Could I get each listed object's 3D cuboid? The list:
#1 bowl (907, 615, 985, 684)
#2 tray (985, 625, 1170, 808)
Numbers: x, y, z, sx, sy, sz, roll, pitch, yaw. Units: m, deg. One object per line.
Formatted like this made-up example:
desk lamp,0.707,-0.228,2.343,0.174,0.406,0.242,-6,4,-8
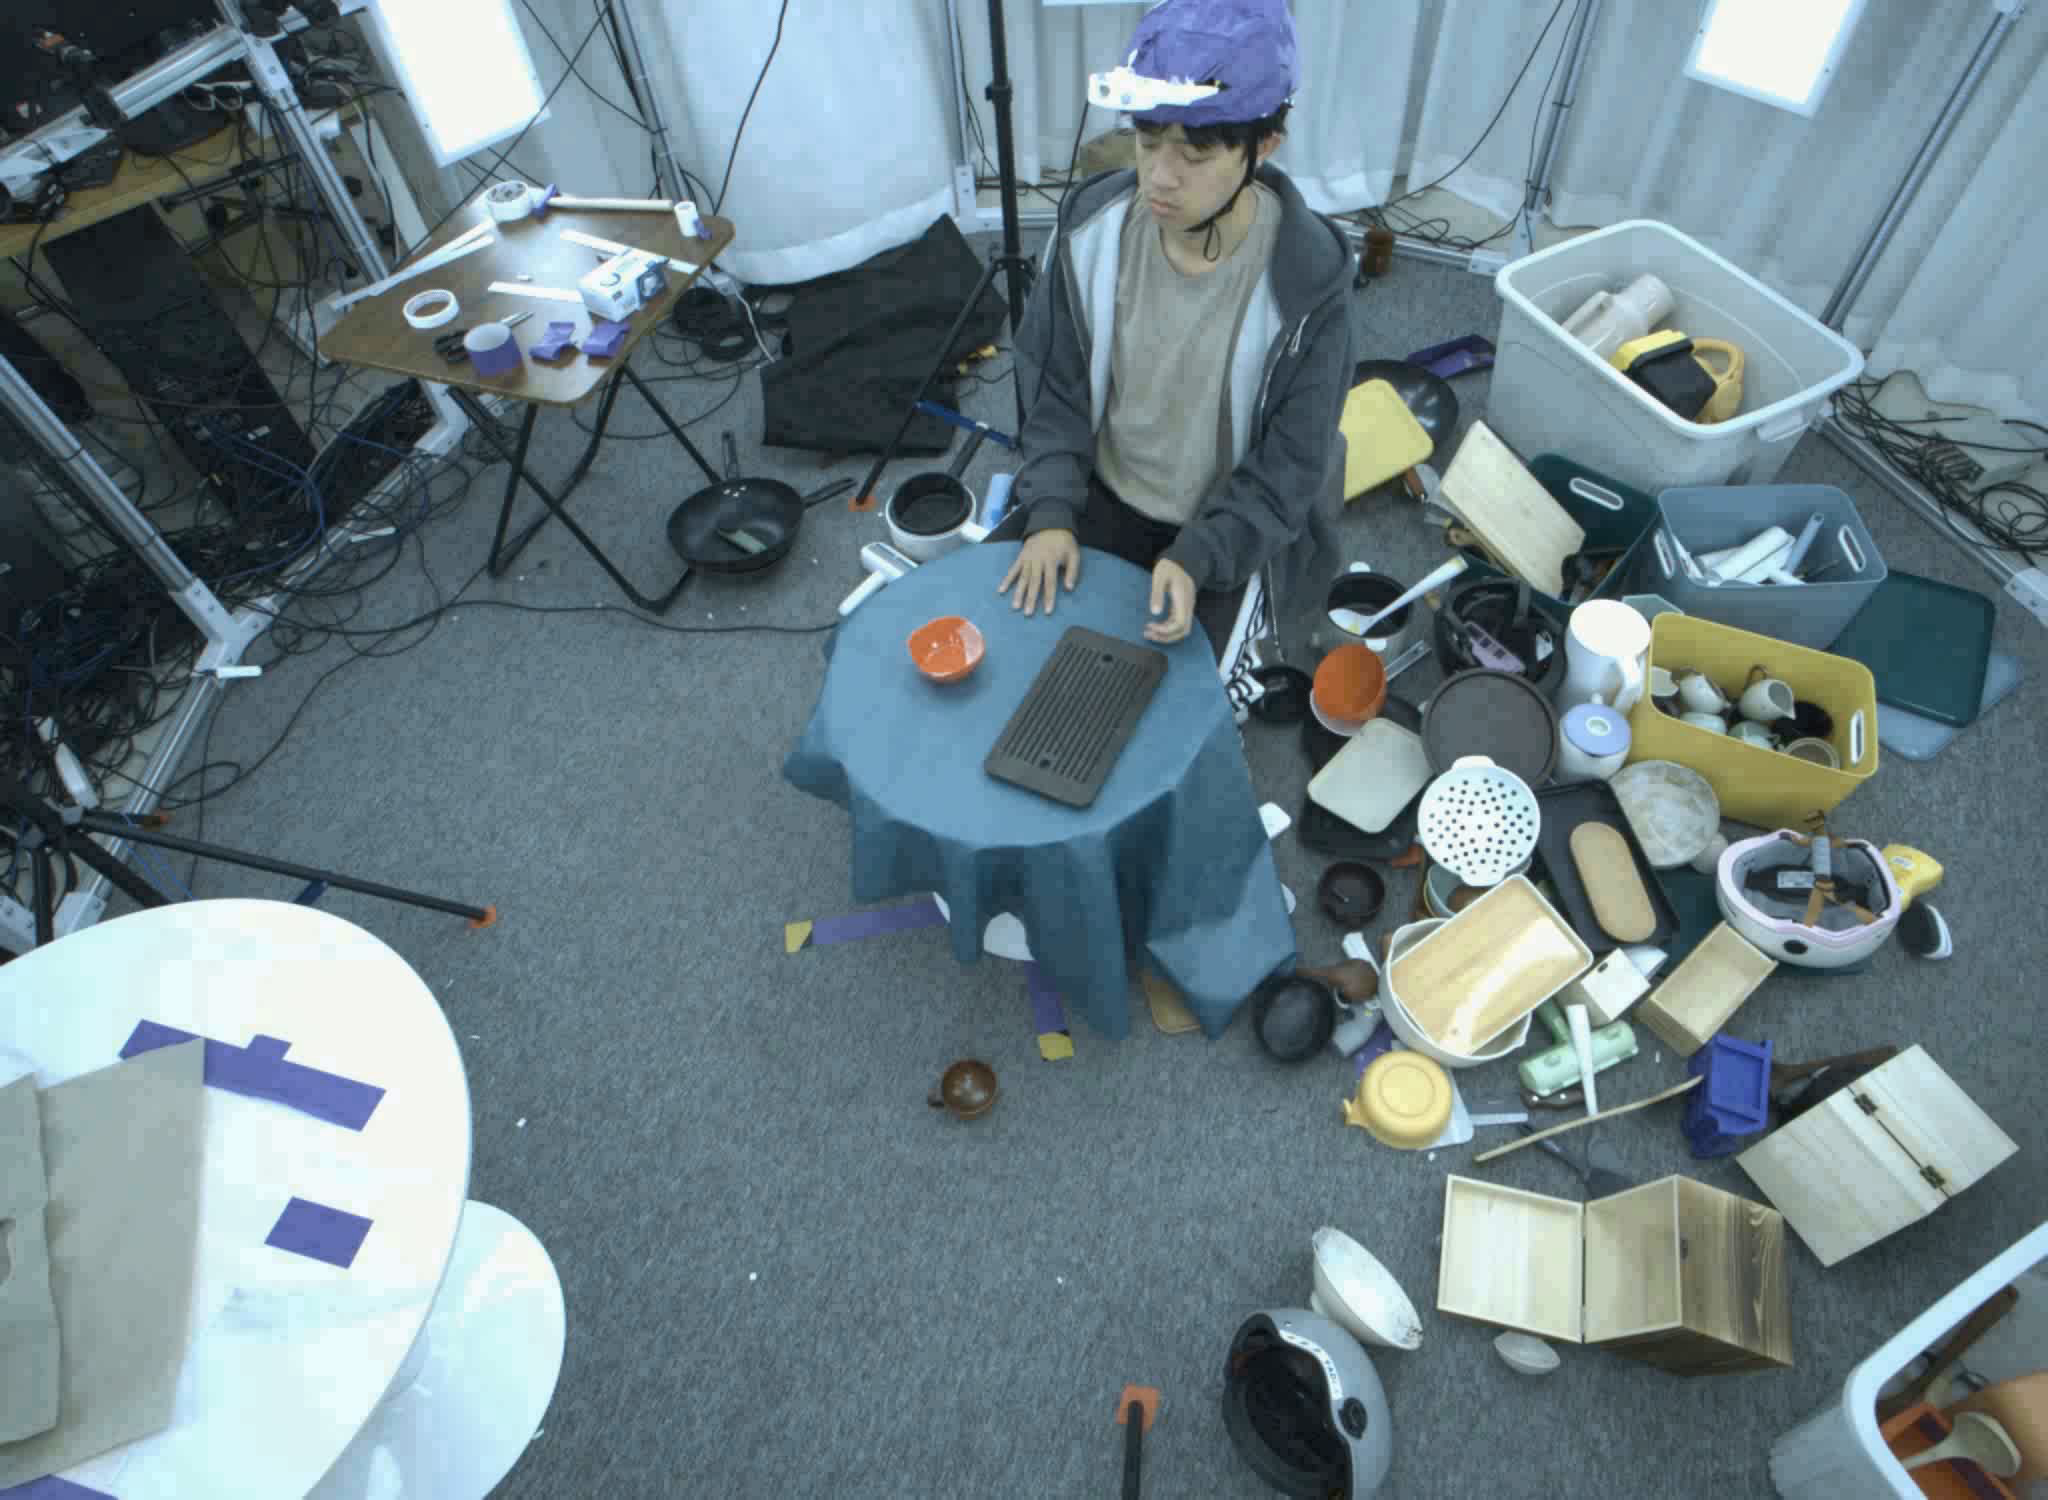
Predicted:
bowl,-0.116,-0.145,1.863,0.119,0.052,0.117,-1,54,3
tray,0.082,-0.054,1.814,0.168,0.019,0.306,21,58,16
